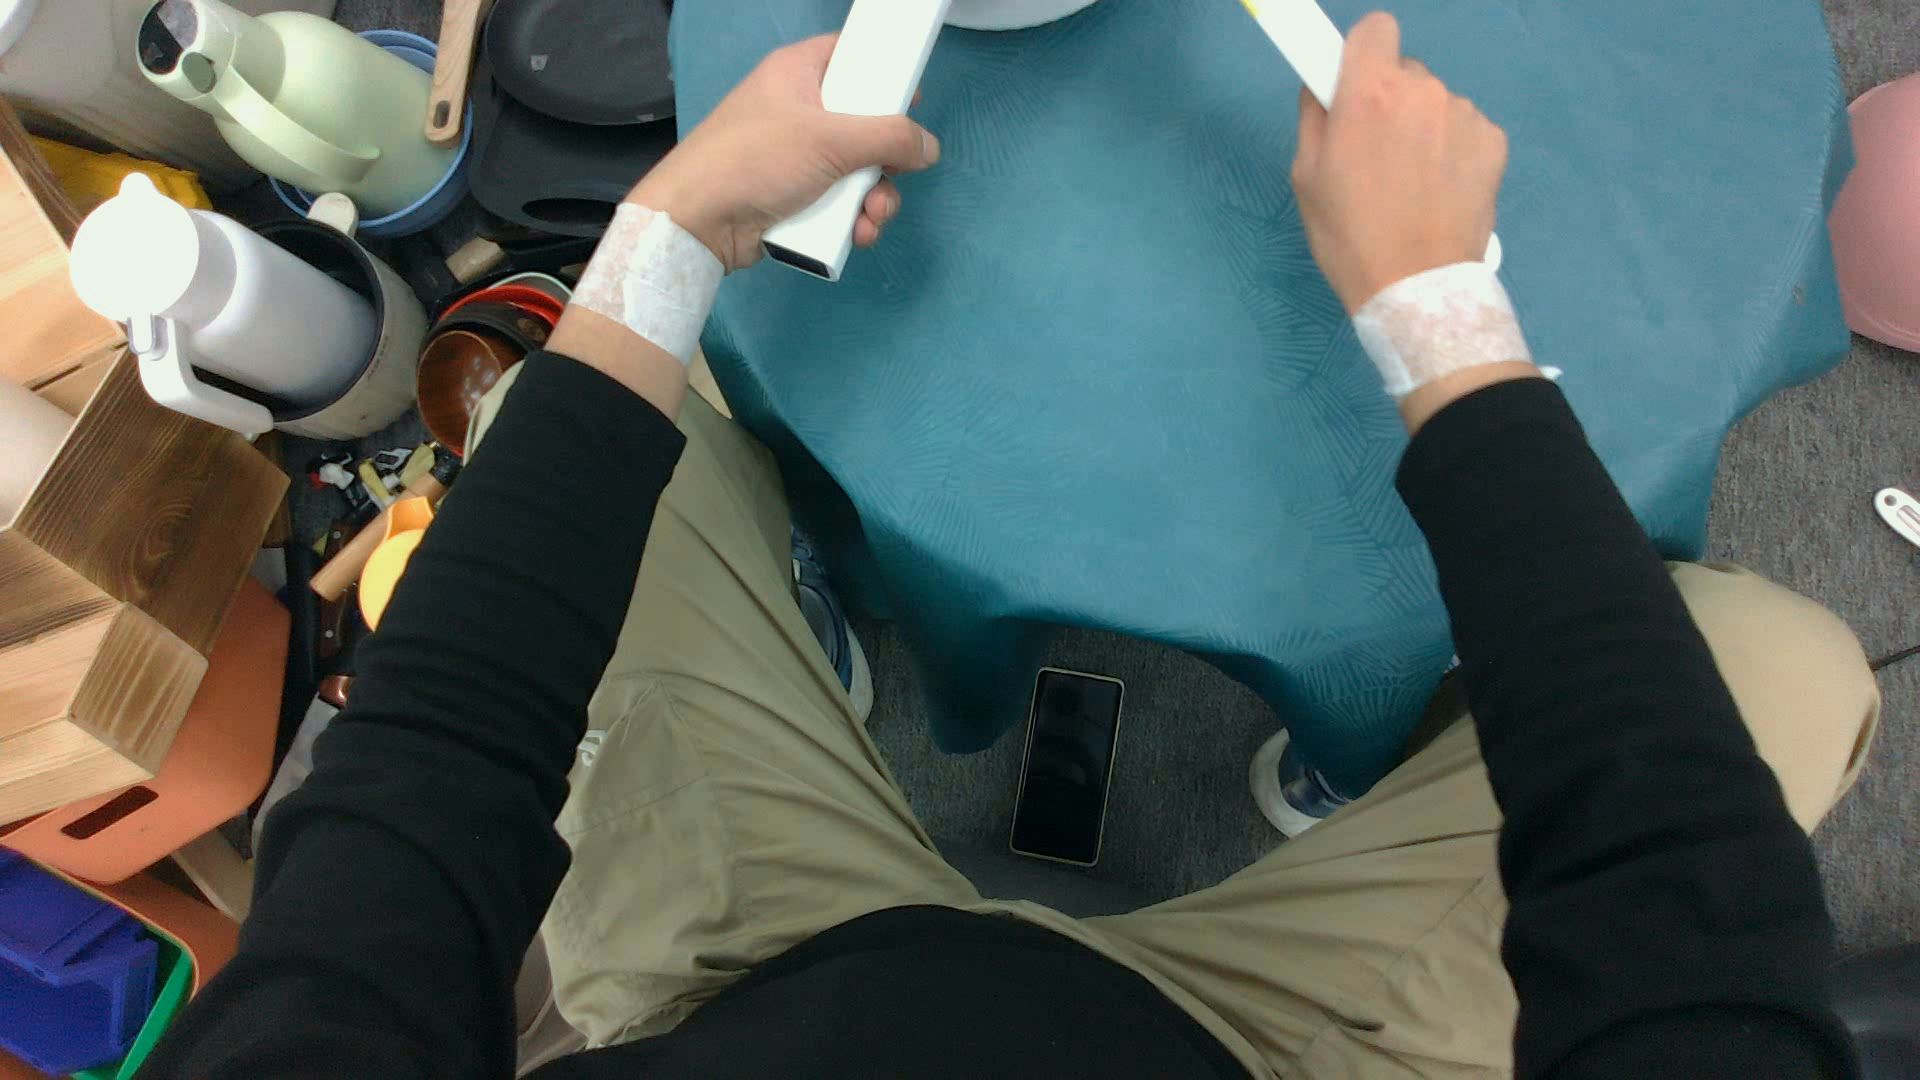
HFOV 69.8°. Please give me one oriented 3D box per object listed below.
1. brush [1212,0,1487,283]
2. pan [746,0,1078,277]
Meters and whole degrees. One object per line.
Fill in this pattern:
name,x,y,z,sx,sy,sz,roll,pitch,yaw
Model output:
brush,0.146,-0.218,0.629,0.069,0.056,0.266,-47,107,-17
pan,-0.017,-0.293,0.692,0.201,0.102,0.355,20,85,3
